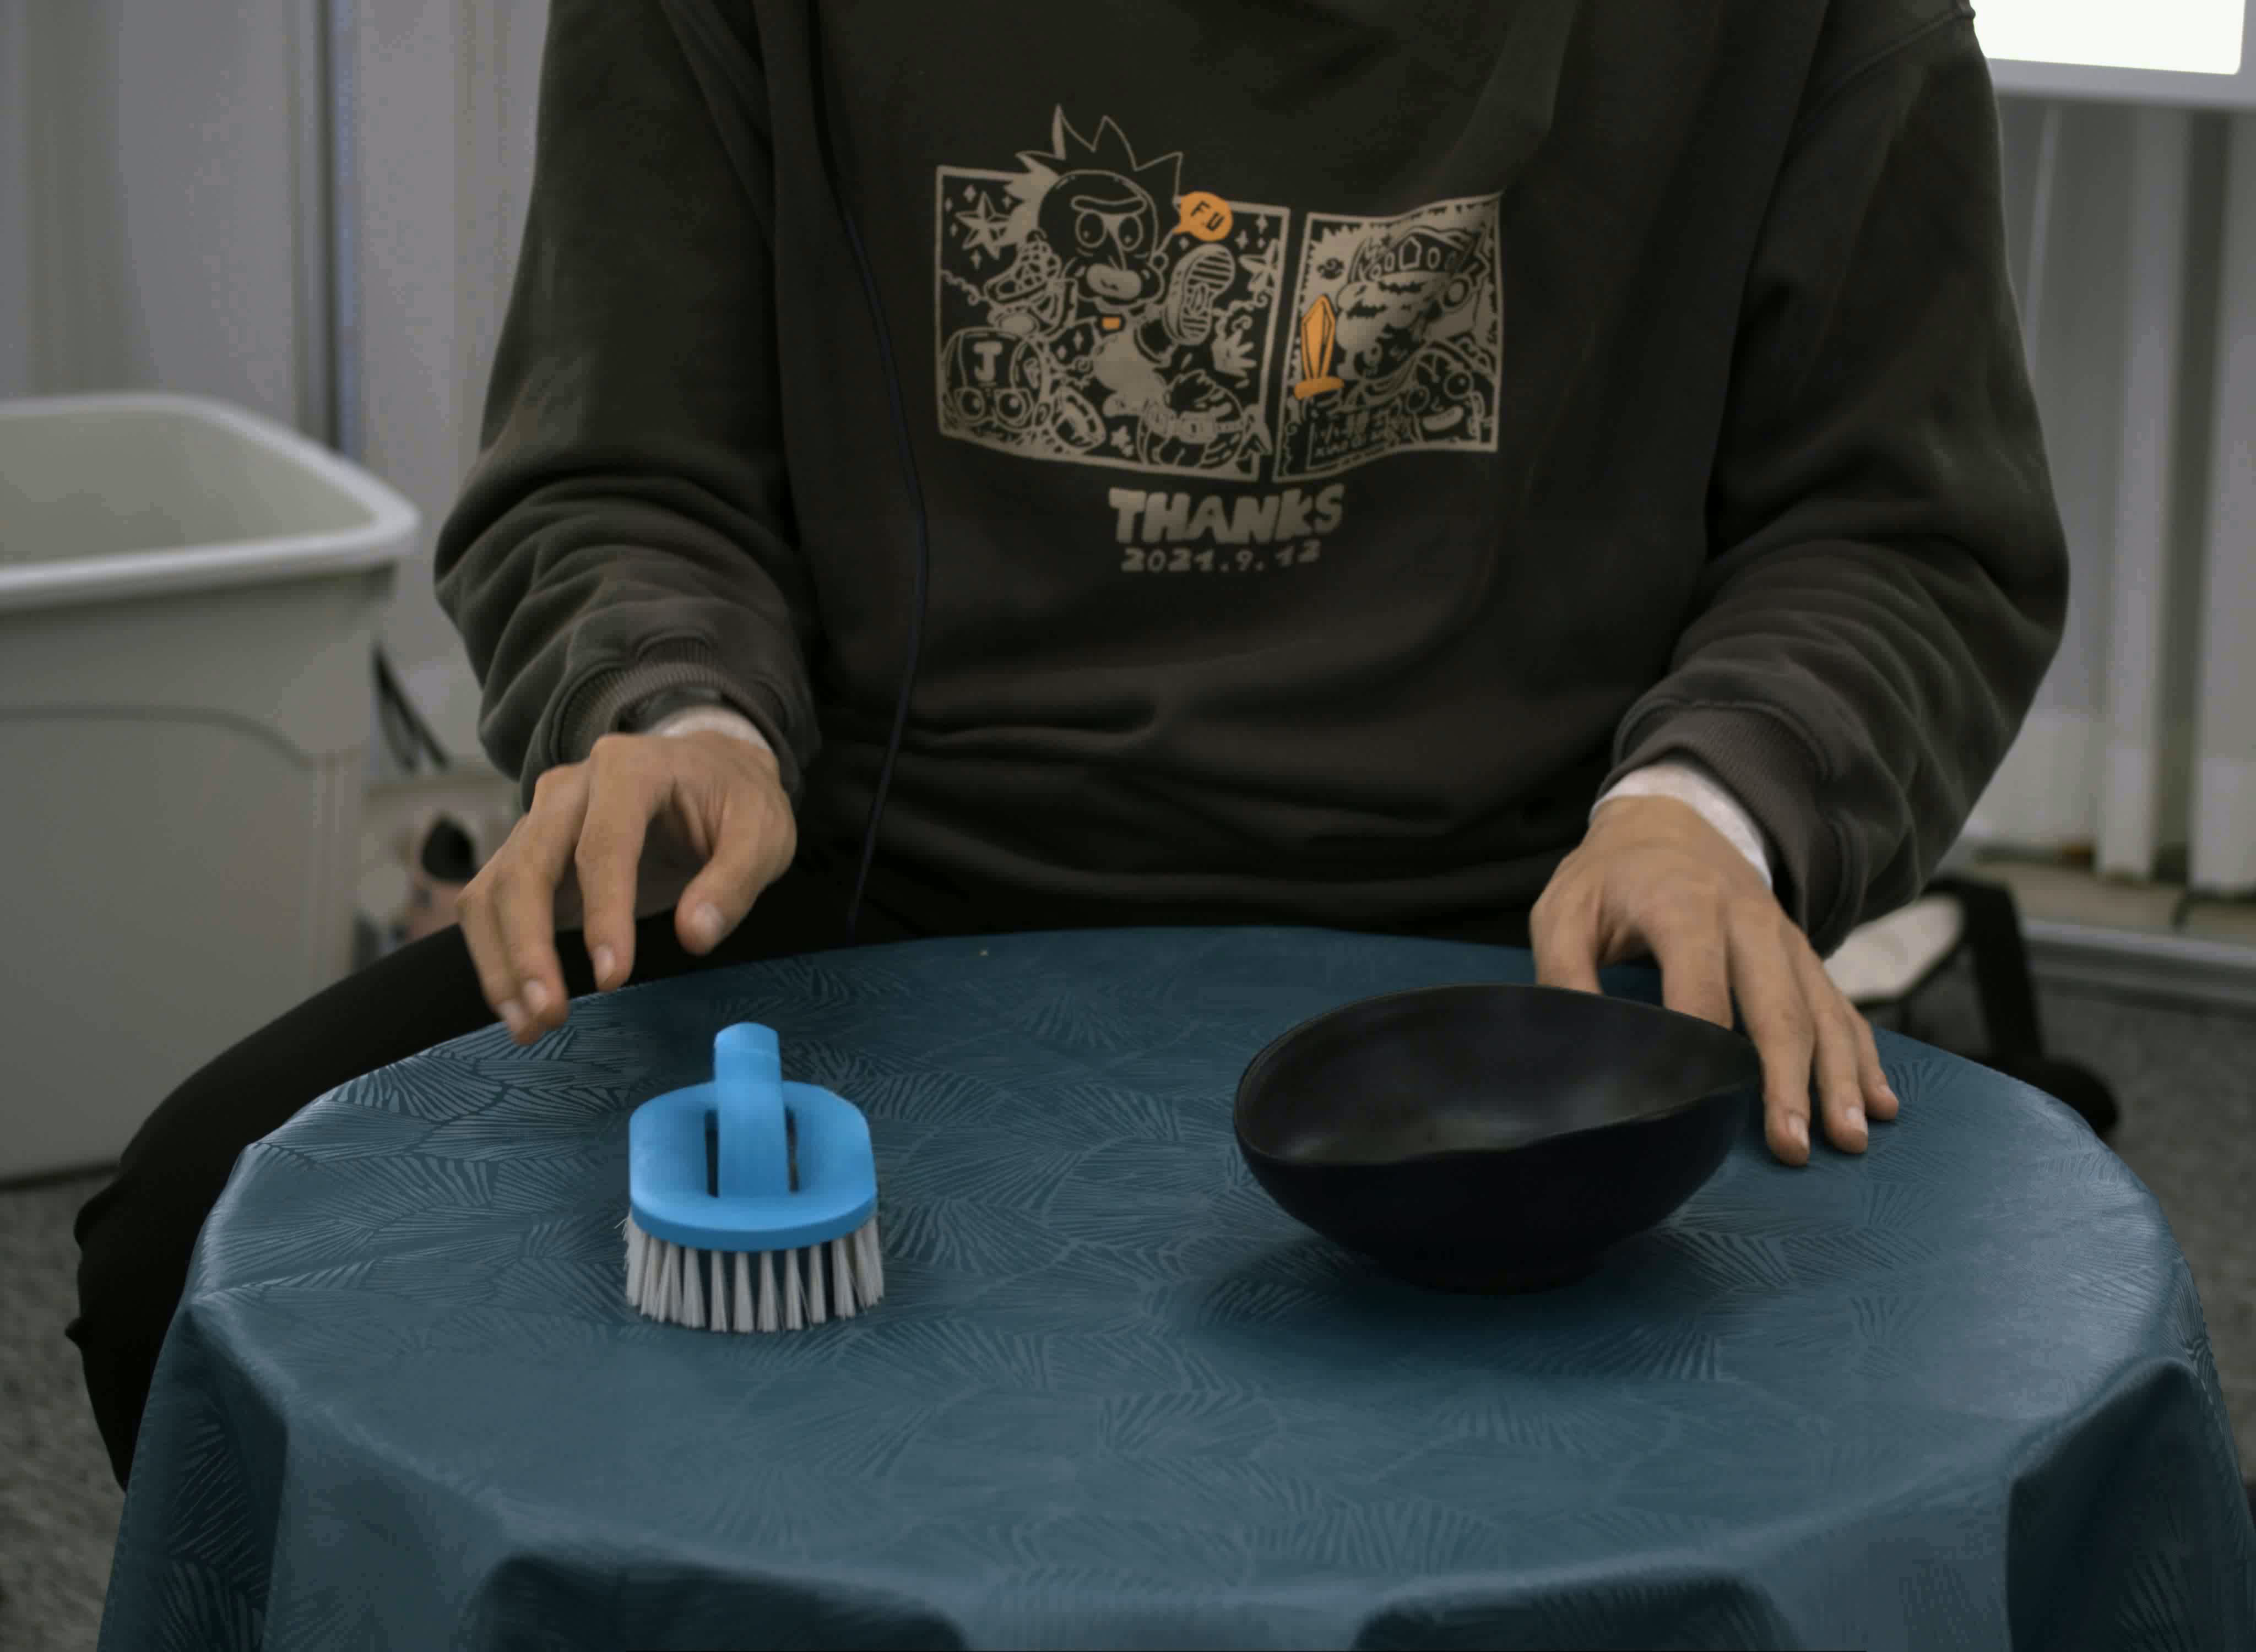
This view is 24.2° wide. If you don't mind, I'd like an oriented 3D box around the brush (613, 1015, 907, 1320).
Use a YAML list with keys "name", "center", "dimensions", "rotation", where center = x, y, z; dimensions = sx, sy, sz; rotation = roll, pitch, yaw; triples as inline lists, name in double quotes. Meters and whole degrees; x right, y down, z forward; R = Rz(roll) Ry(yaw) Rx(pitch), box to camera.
- name: "brush"
  center: [-0.110, 0.095, 1.566]
  dimensions: [0.084, 0.064, 0.141]
  rotation: [-5, 15, -2]

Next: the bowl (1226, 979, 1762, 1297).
- name: "bowl"
  center: [0.110, 0.099, 1.567]
  dimensions: [0.171, 0.067, 0.135]
  rotation: [-13, 19, -35]
